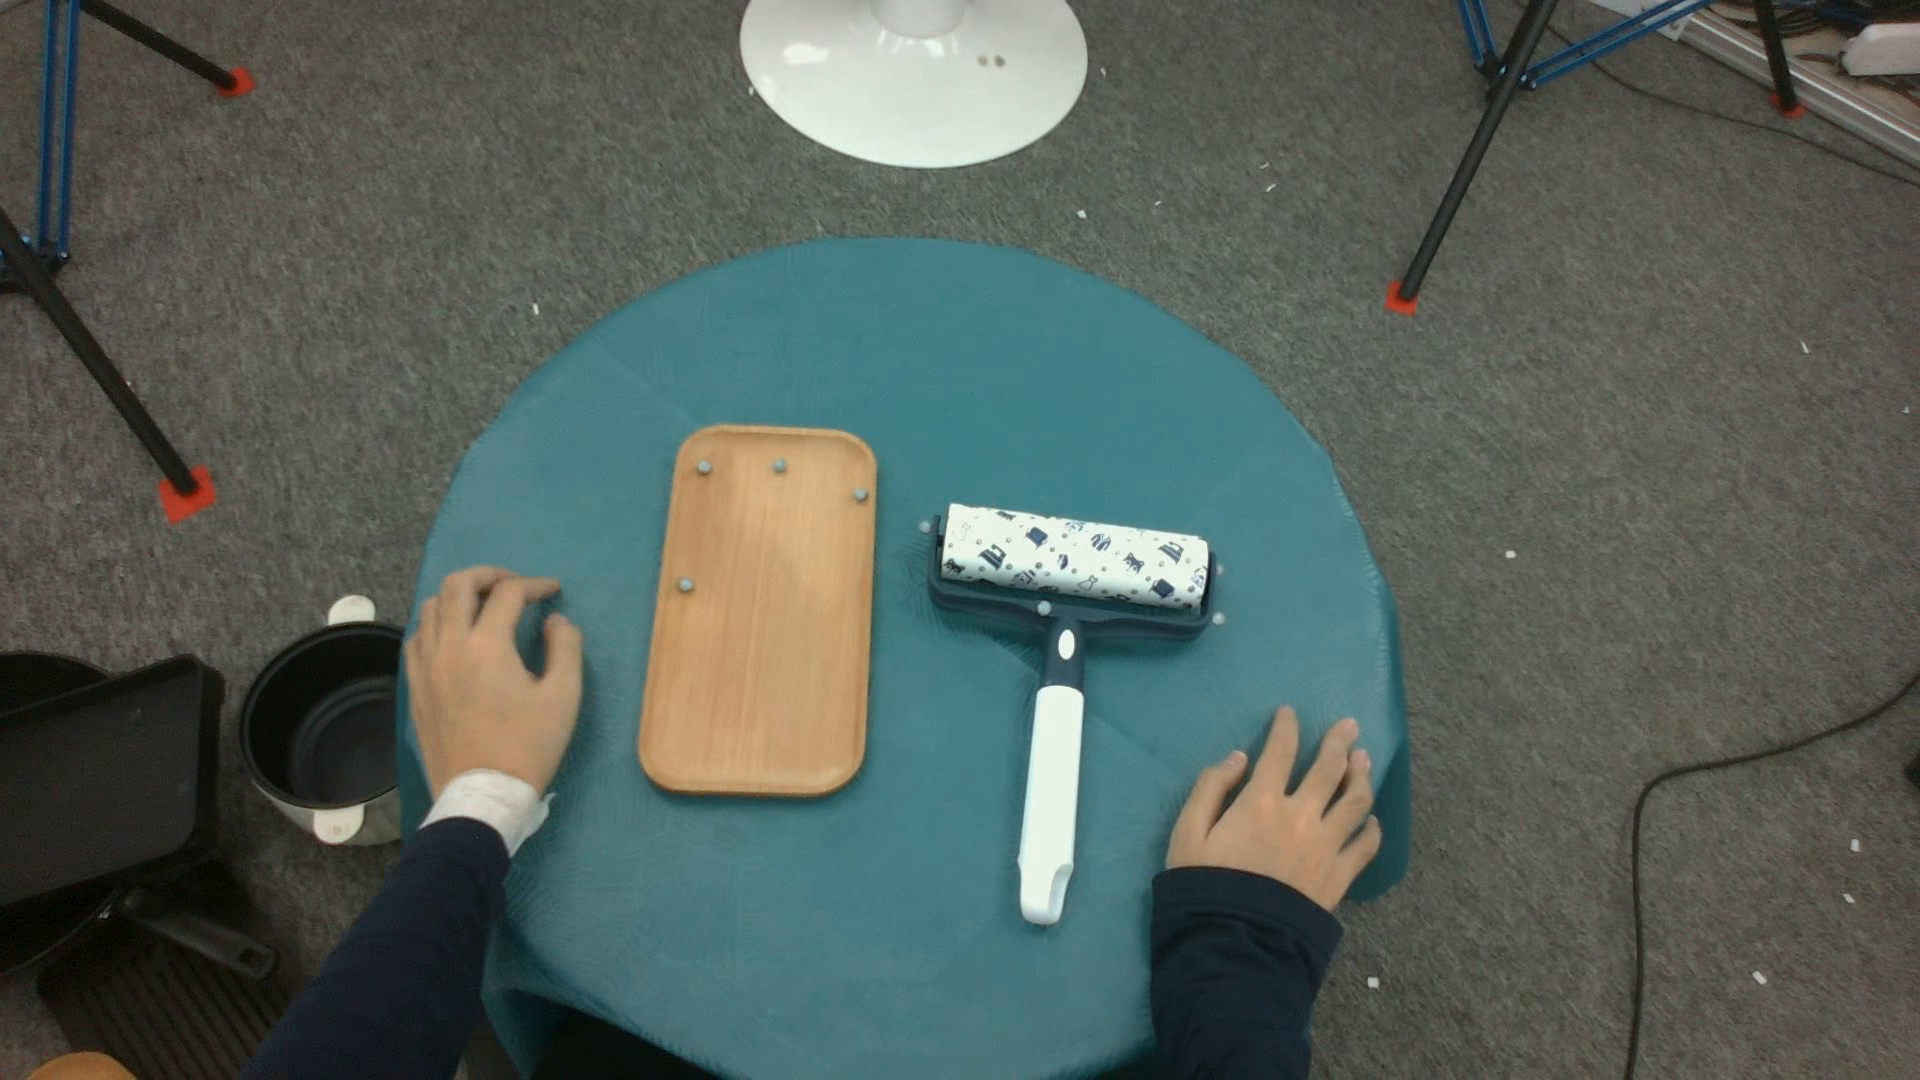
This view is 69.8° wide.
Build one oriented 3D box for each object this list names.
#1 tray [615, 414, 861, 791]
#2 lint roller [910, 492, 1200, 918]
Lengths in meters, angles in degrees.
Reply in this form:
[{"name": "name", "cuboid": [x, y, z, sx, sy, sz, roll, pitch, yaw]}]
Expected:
[{"name": "tray", "cuboid": [-0.128, 0.031, 0.826, 0.130, 0.023, 0.252, 2, 59, -2]}, {"name": "lint roller", "cuboid": [0.050, 0.091, 0.796, 0.176, 0.050, 0.248, 8, 61, -3]}]
